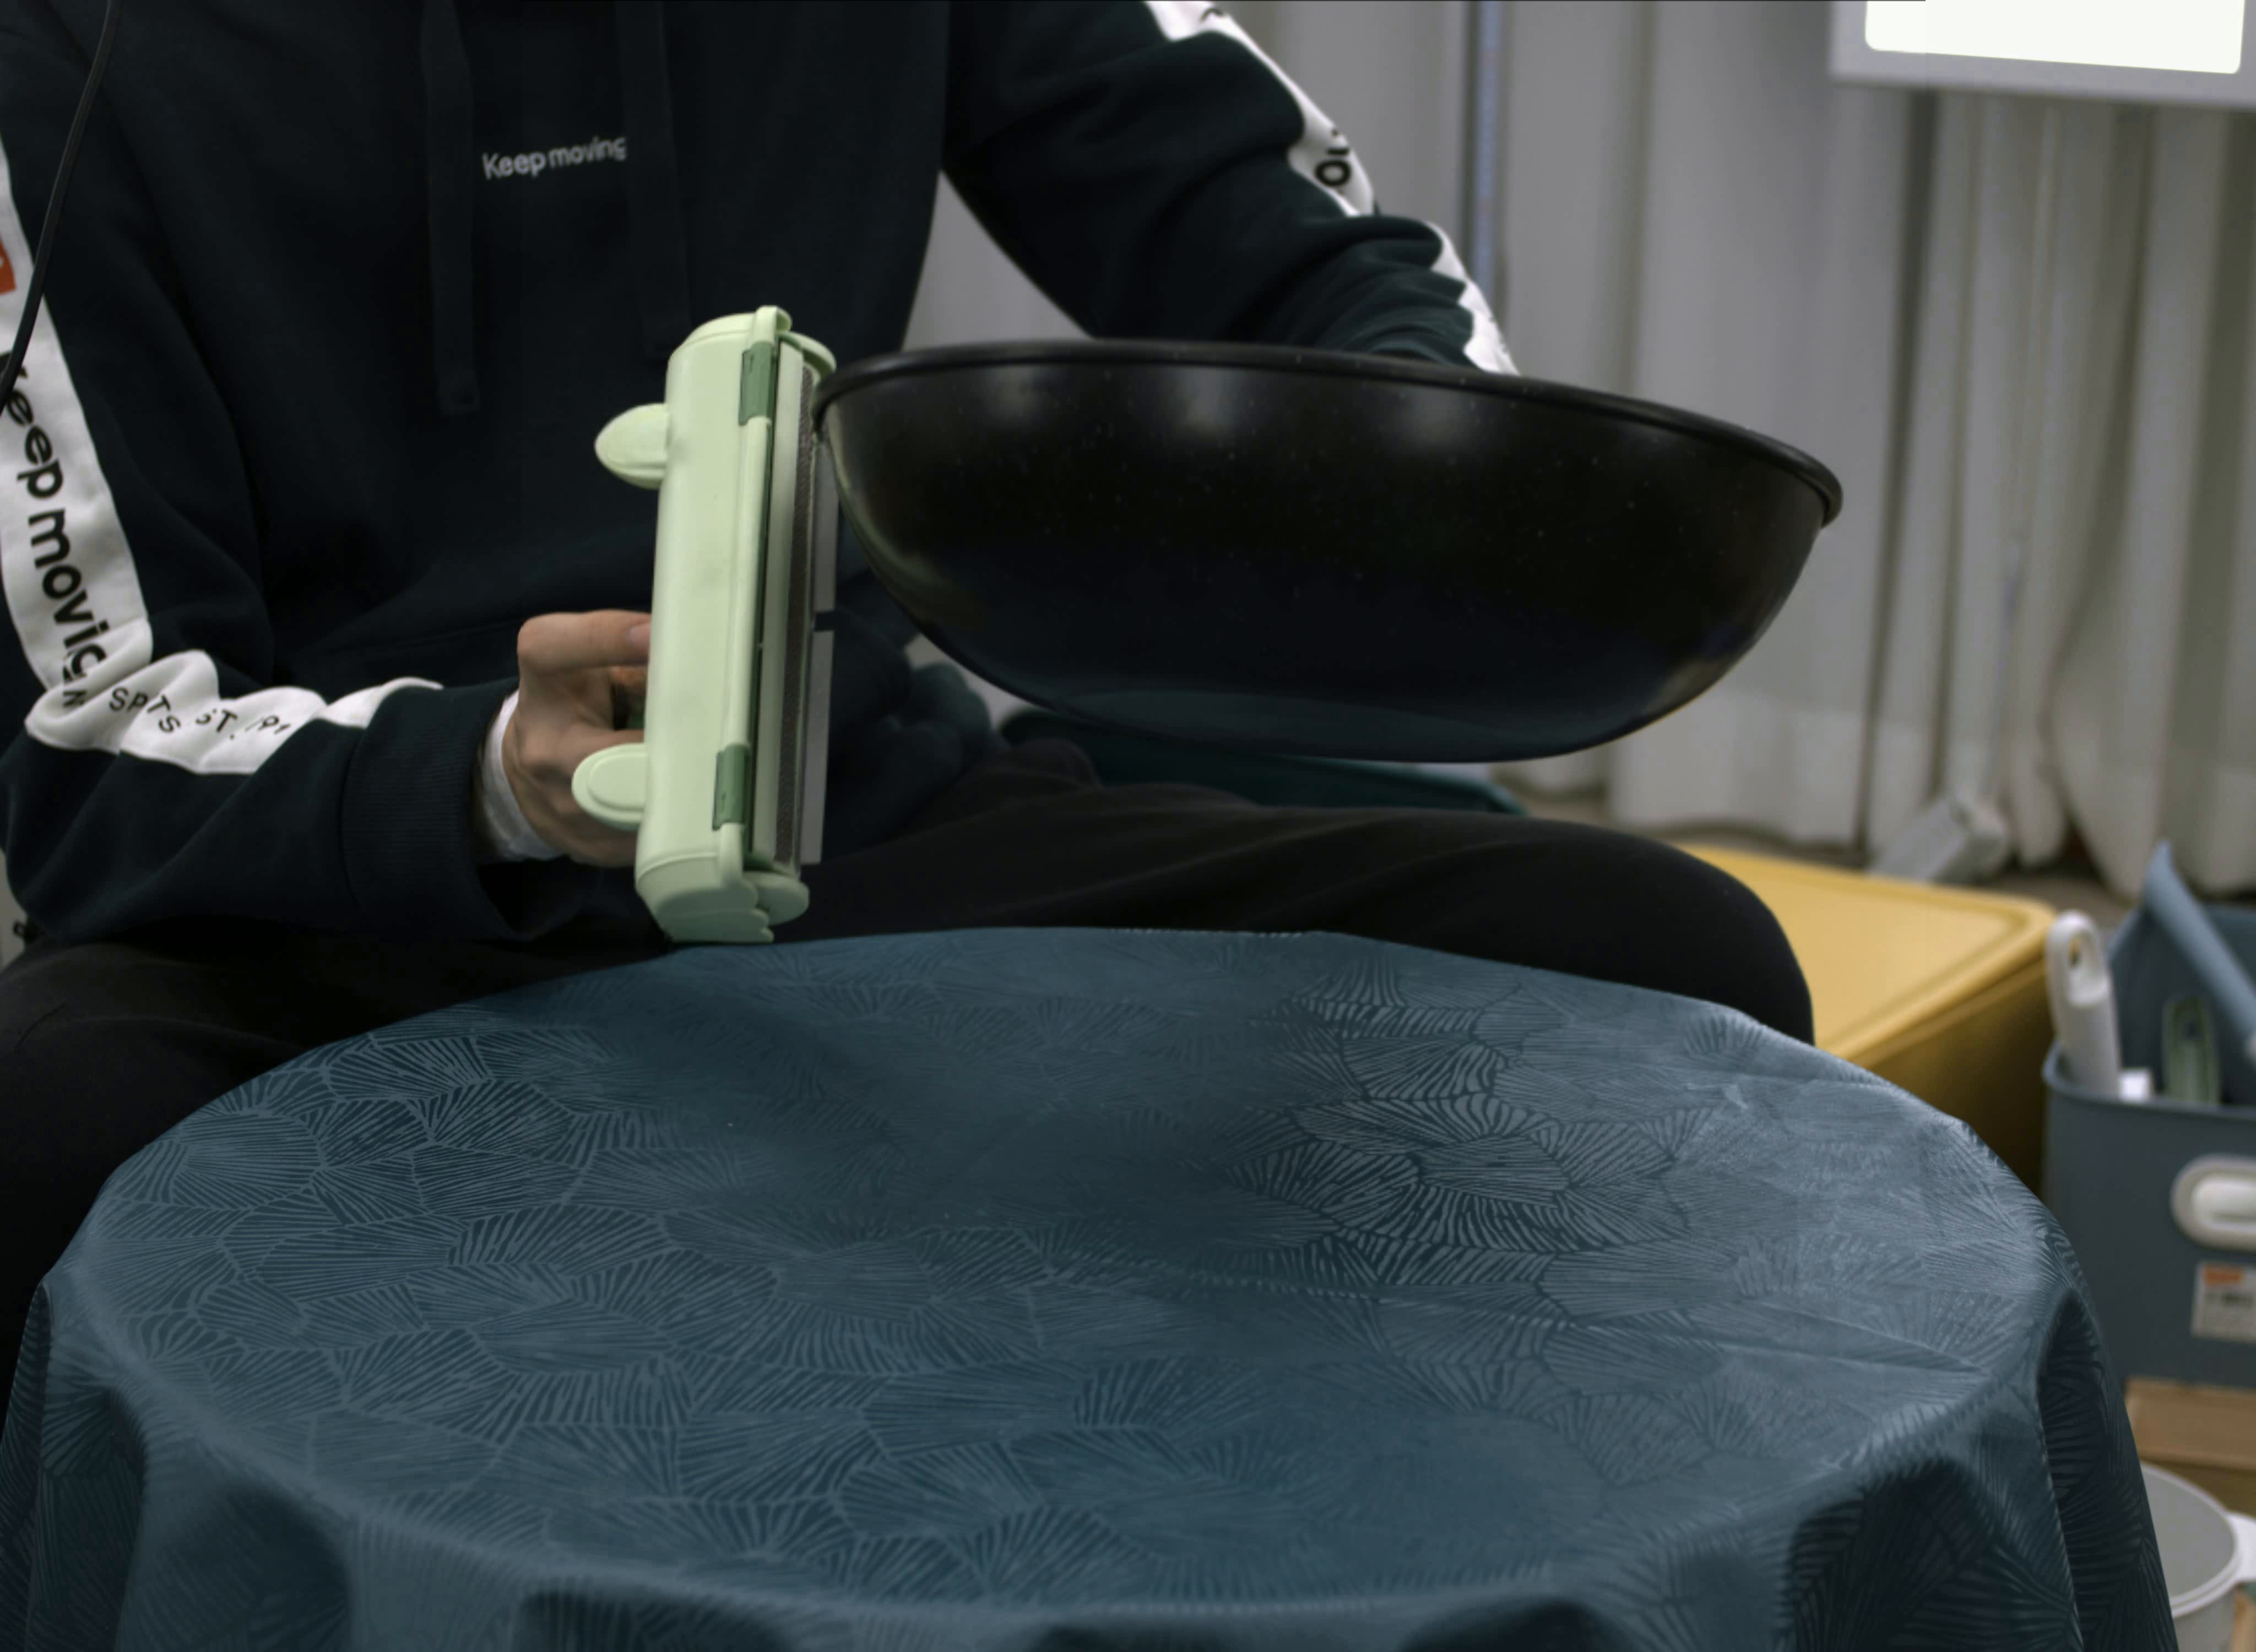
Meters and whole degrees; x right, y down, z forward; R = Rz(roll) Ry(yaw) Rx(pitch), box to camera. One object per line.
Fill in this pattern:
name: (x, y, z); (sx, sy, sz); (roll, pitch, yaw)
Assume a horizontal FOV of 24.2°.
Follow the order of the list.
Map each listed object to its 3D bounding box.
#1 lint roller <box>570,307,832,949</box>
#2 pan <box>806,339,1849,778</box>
lint roller: (-0.152, -0.045, 1.681); (0.082, 0.198, 0.183); (10, -22, -24)
pan: (0.073, -0.070, 1.634); (0.308, 0.112, 0.479); (6, -5, 12)
